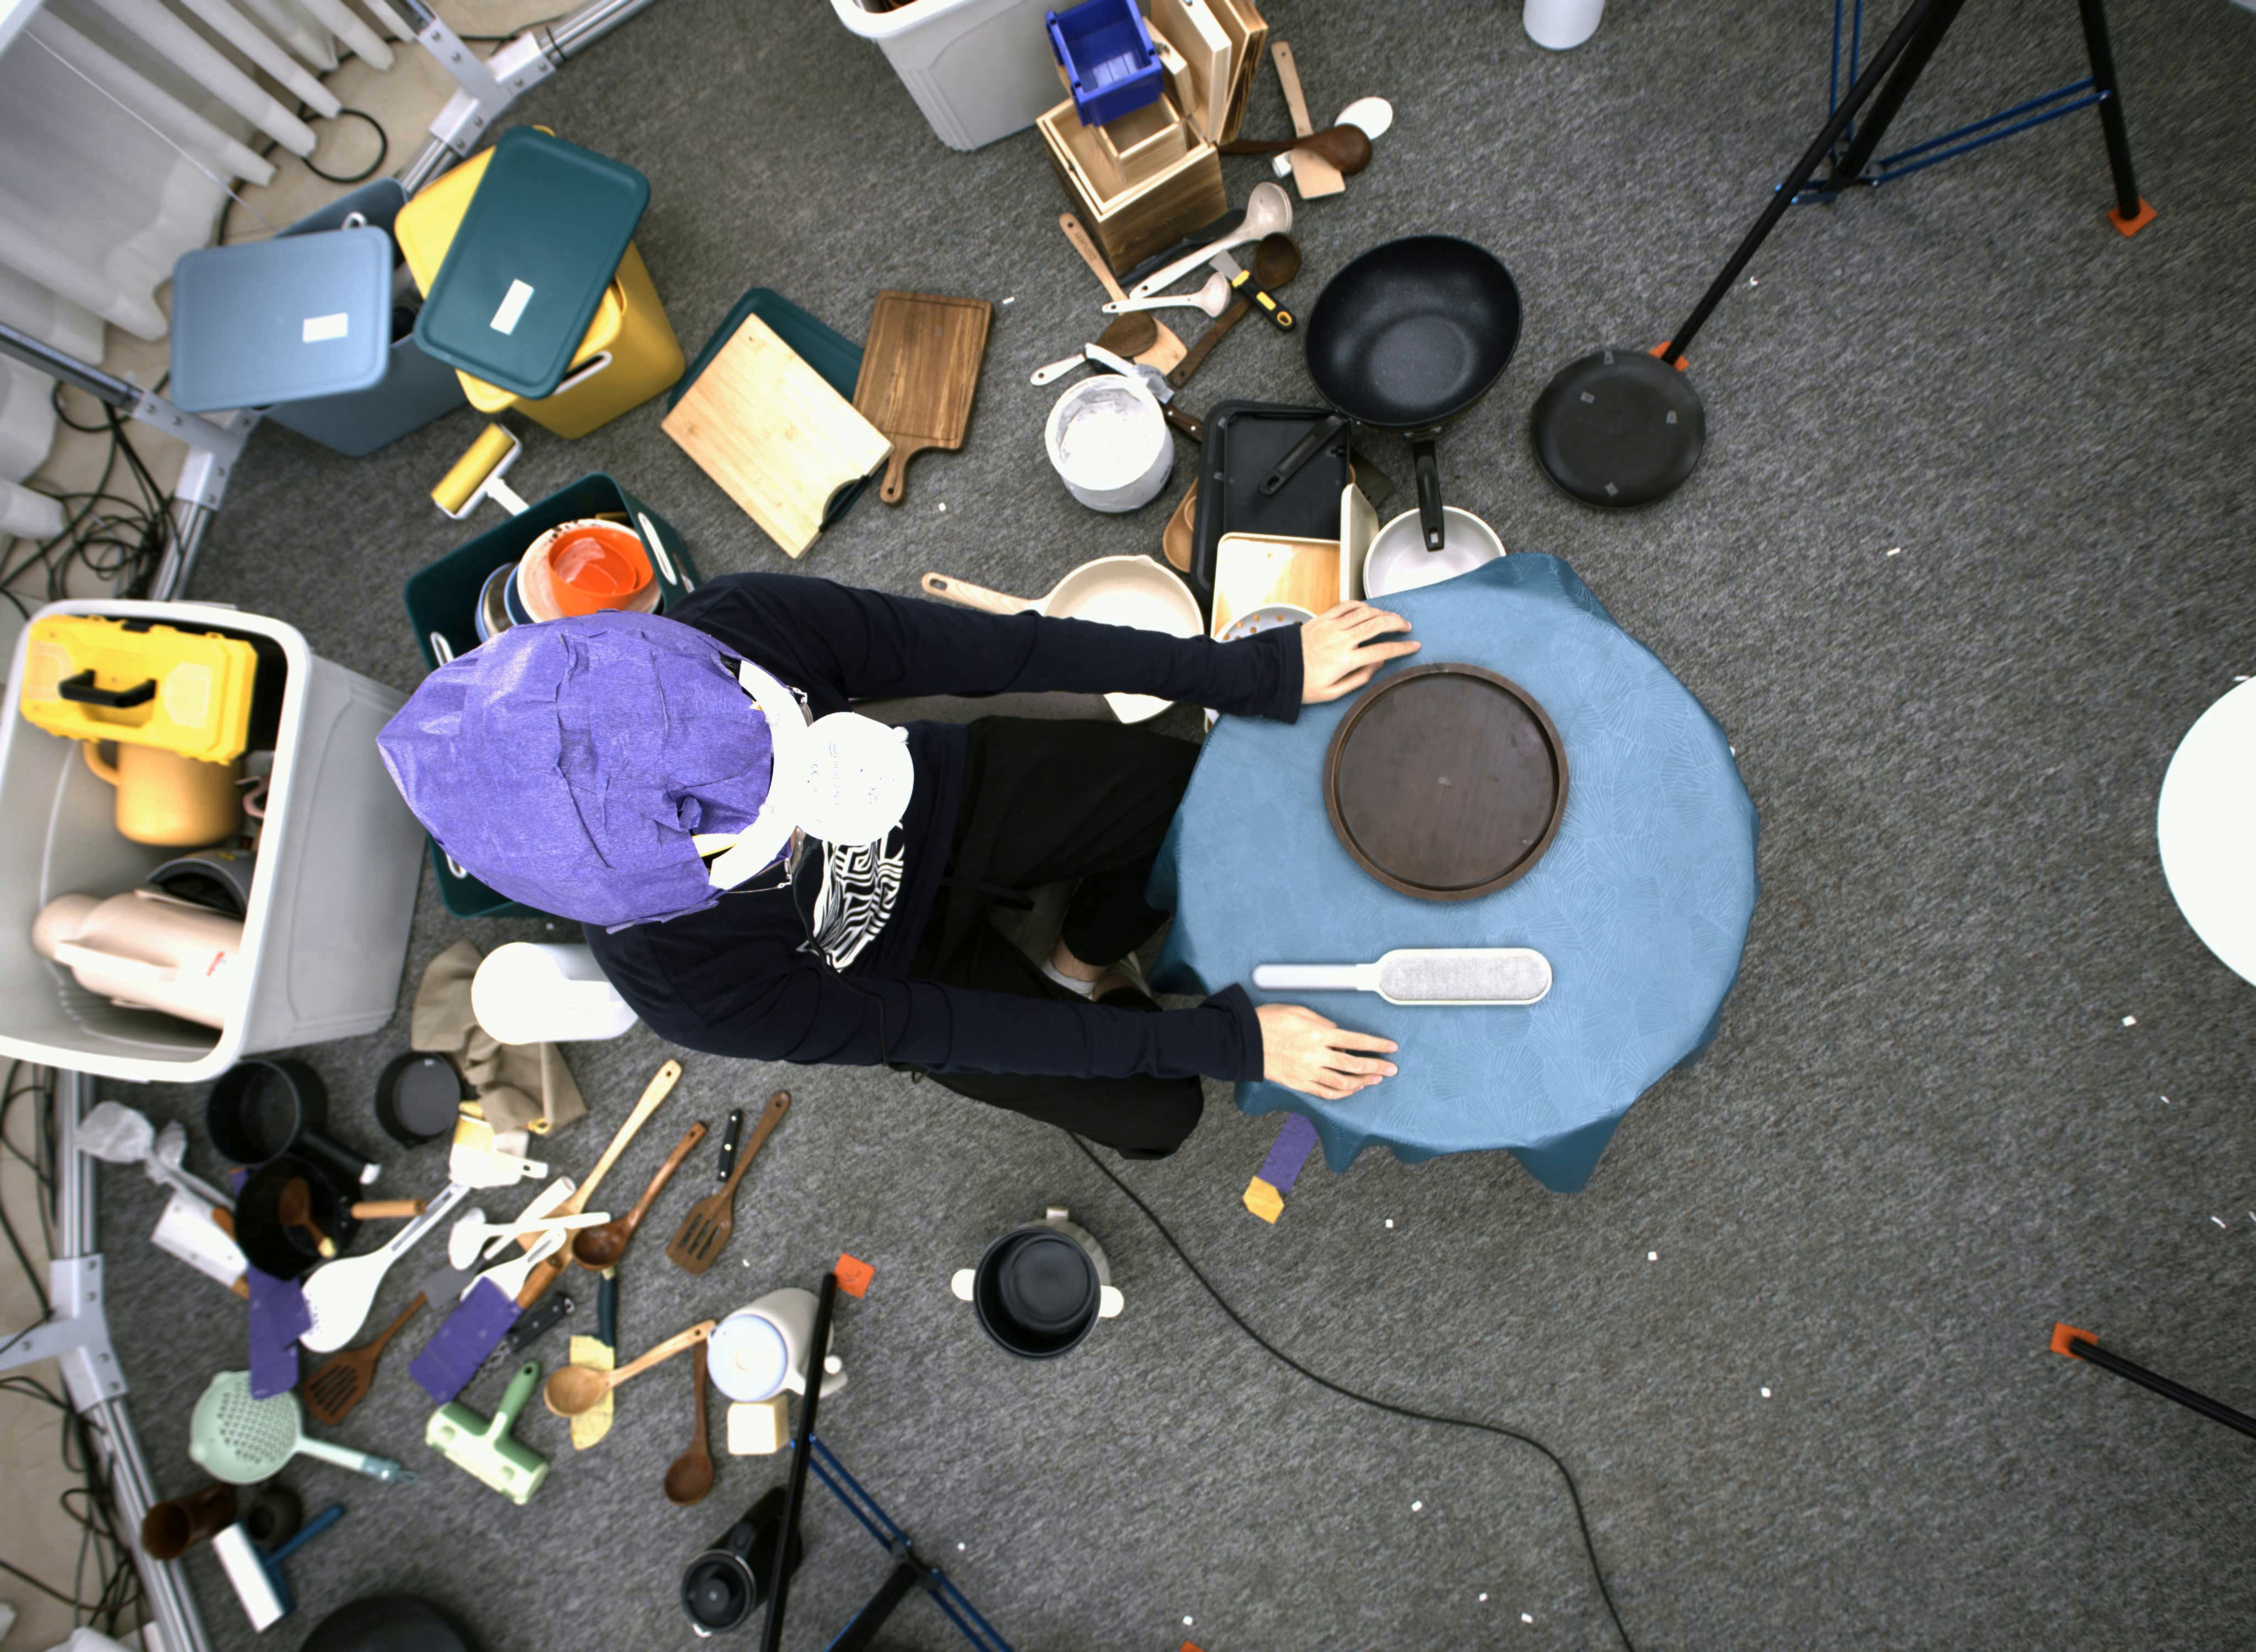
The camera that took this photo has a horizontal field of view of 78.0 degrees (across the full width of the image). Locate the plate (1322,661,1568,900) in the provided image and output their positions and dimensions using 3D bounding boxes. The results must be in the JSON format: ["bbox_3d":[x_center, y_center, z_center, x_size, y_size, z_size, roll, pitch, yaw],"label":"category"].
[{"bbox_3d":[0.331,-0.050,1.443,0.256,0.029,0.253,-1,85,10],"label":"plate"}]

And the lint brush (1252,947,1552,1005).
[{"bbox_3d":[0.283,0.154,1.439,0.310,0.021,0.060,-1,92,11],"label":"lint brush"}]
